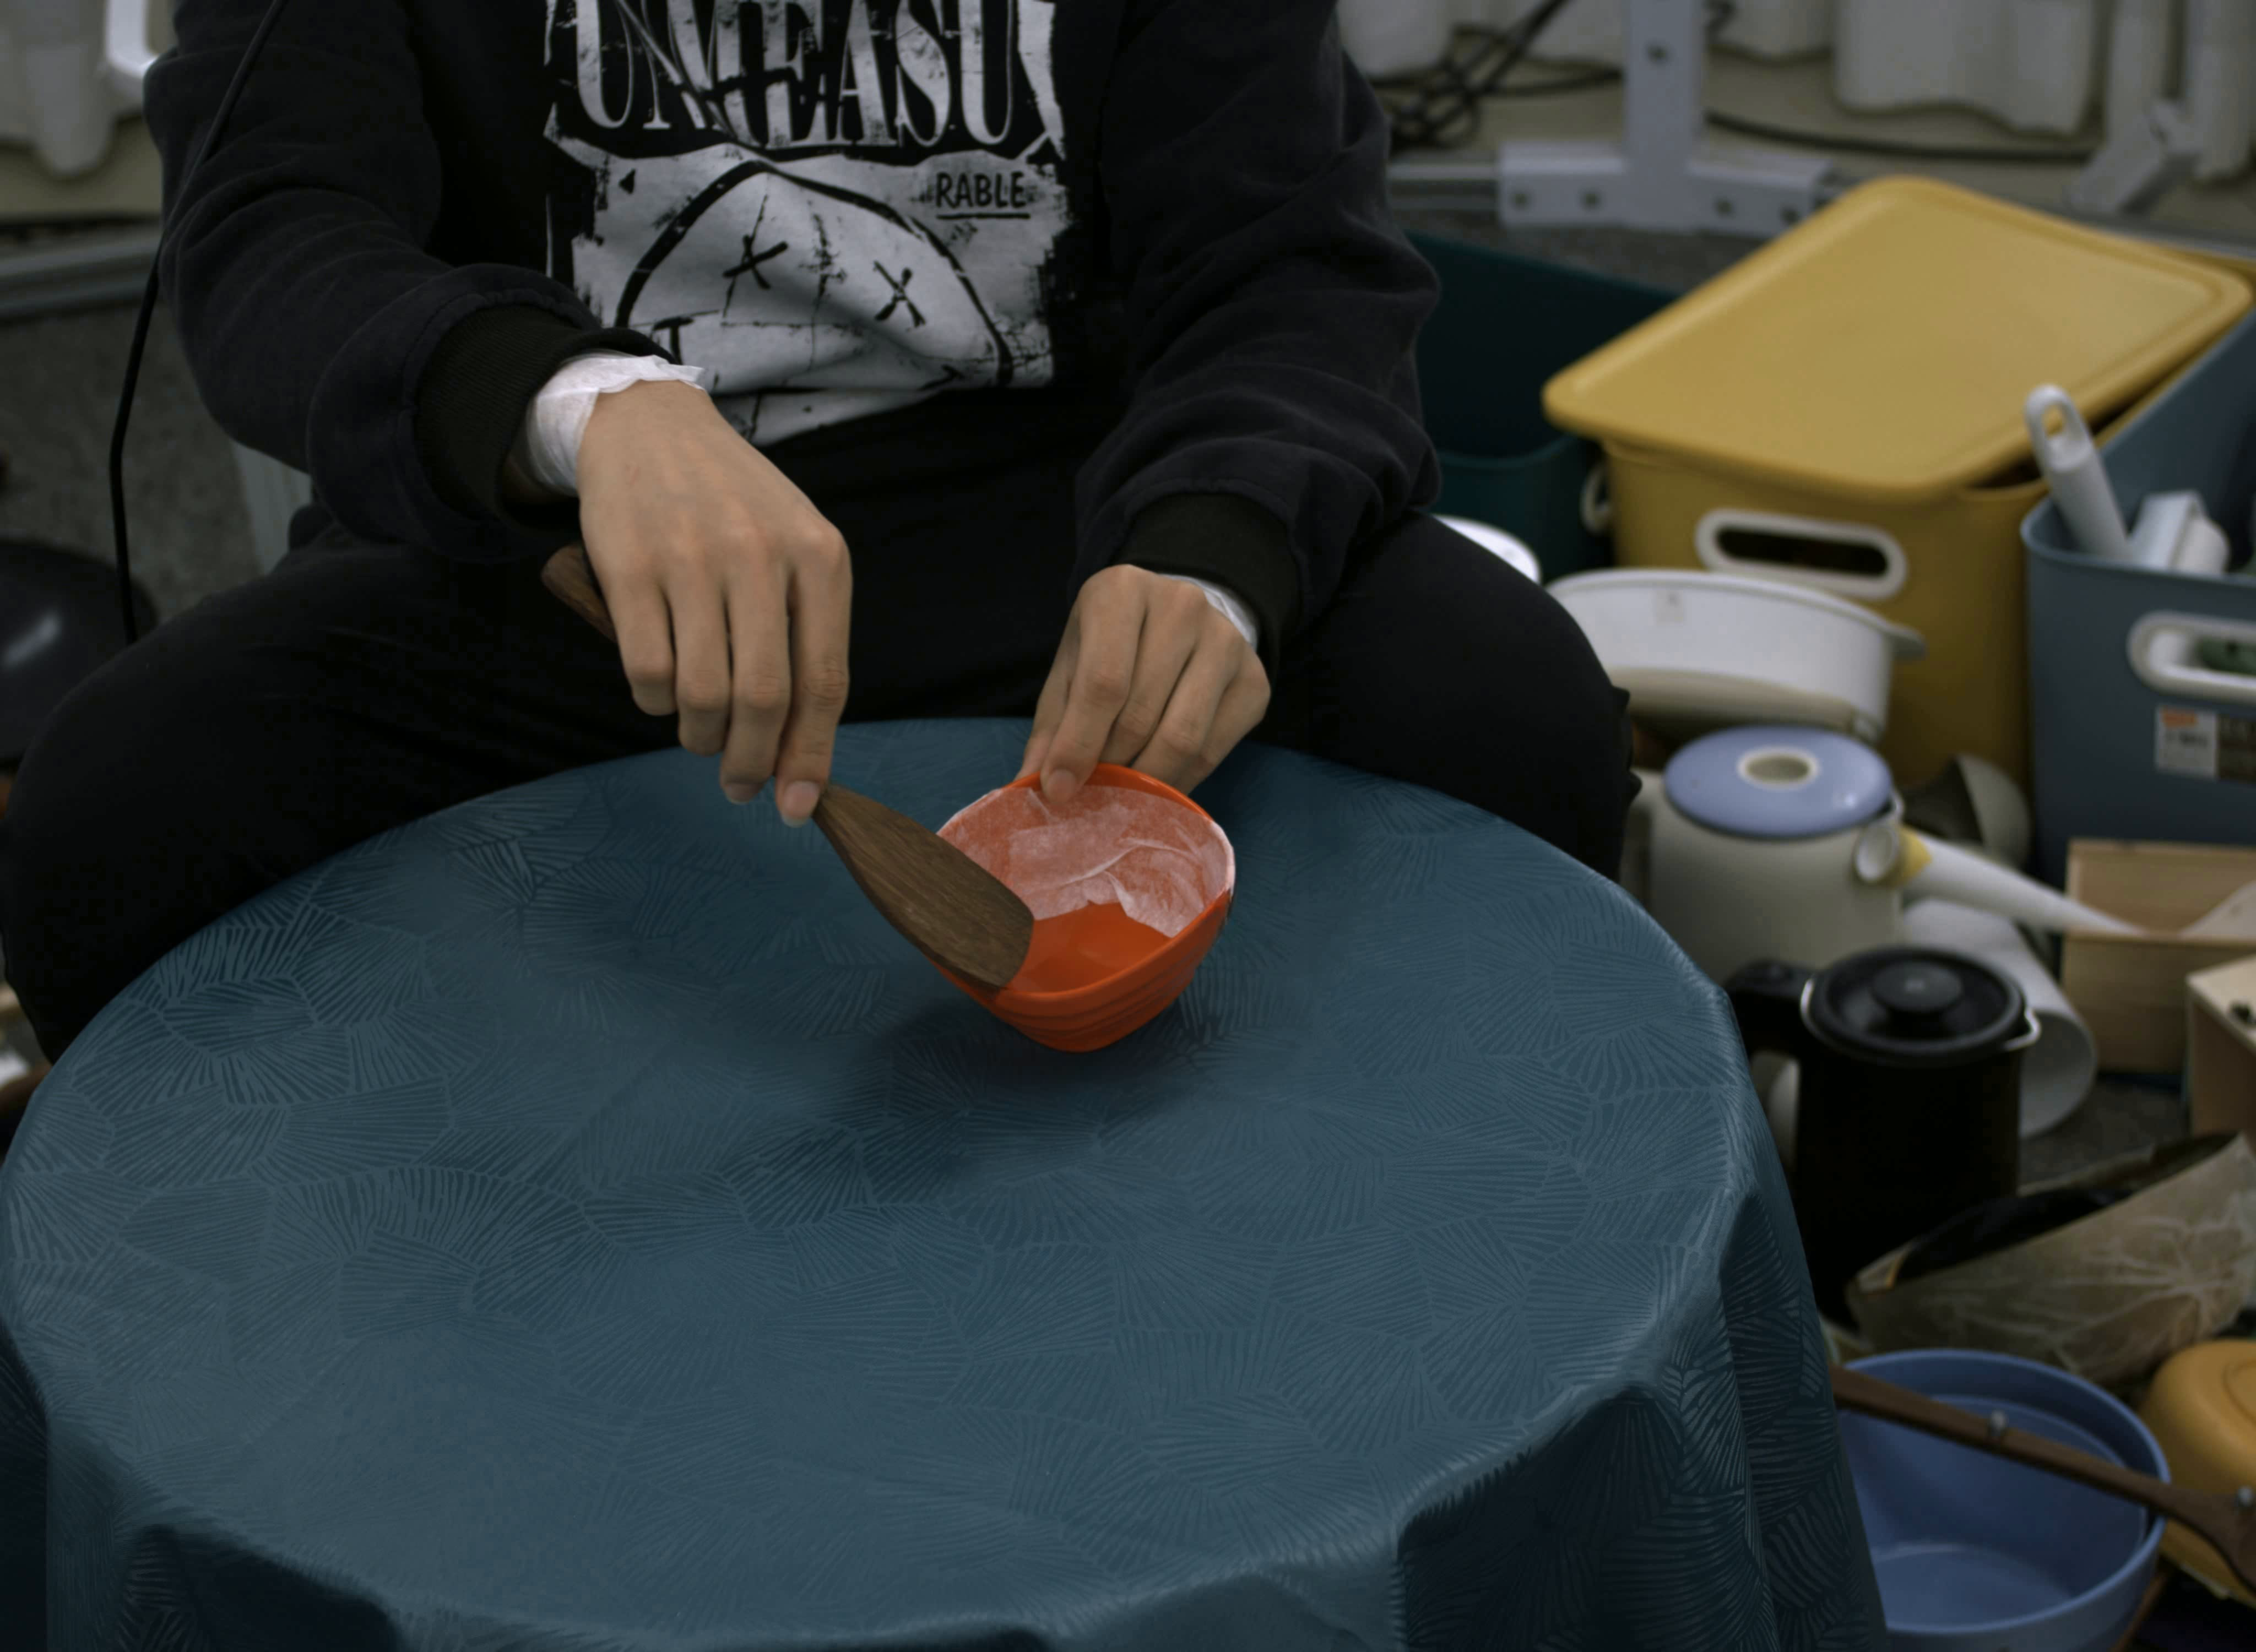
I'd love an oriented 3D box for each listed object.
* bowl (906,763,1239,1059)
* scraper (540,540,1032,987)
[{"bbox_3d":[-0.016,0.036,1.957,0.118,0.050,0.121,-7,42,7],"label":"bowl"},{"bbox_3d":[-0.116,-0.023,1.893,0.211,0.010,0.077,42,23,-7],"label":"scraper"}]
